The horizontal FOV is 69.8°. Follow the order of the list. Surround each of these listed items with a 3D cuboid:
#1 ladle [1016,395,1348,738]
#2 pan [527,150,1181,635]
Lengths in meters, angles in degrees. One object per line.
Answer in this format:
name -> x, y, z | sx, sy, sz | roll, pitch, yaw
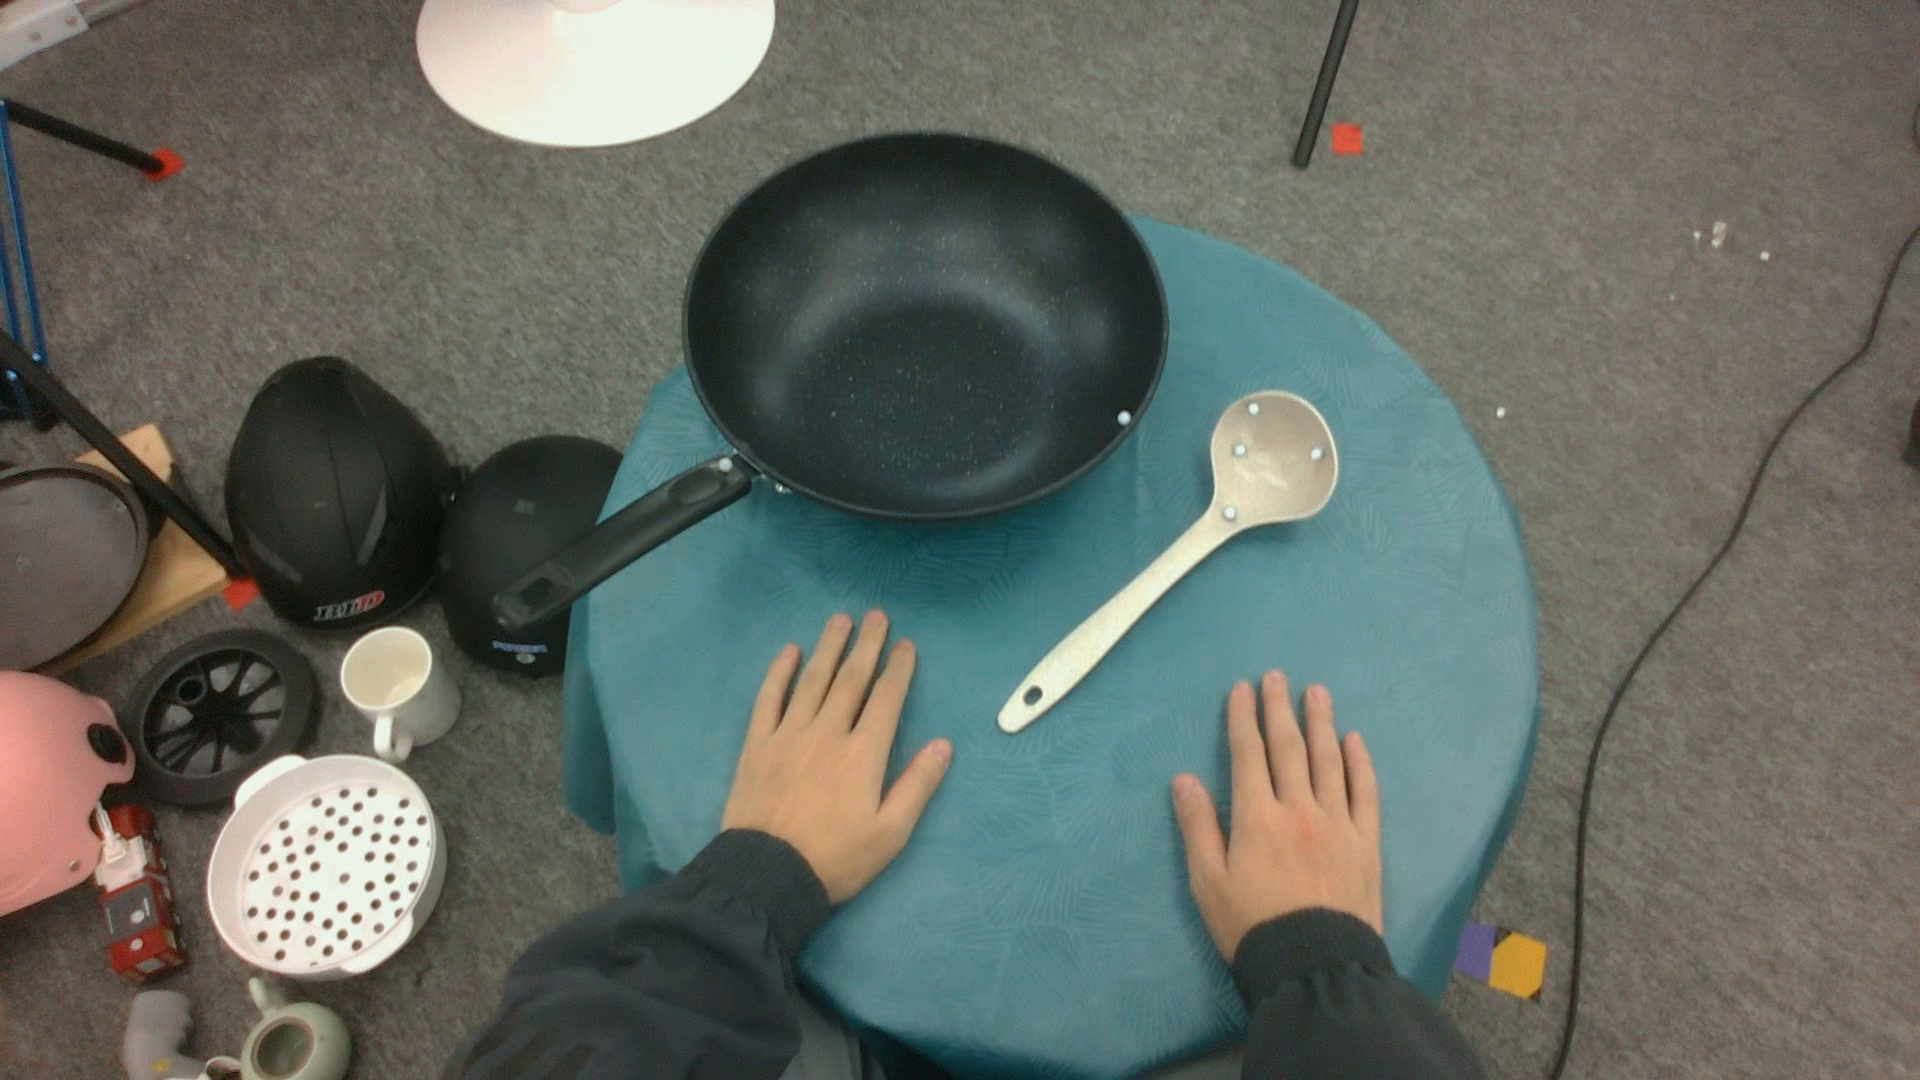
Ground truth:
ladle -> 0.133, 0.015, 0.851 | 0.089, 0.069, 0.276 | 41, 68, 20
pan -> -0.068, -0.077, 0.885 | 0.310, 0.111, 0.478 | 38, 66, 22
